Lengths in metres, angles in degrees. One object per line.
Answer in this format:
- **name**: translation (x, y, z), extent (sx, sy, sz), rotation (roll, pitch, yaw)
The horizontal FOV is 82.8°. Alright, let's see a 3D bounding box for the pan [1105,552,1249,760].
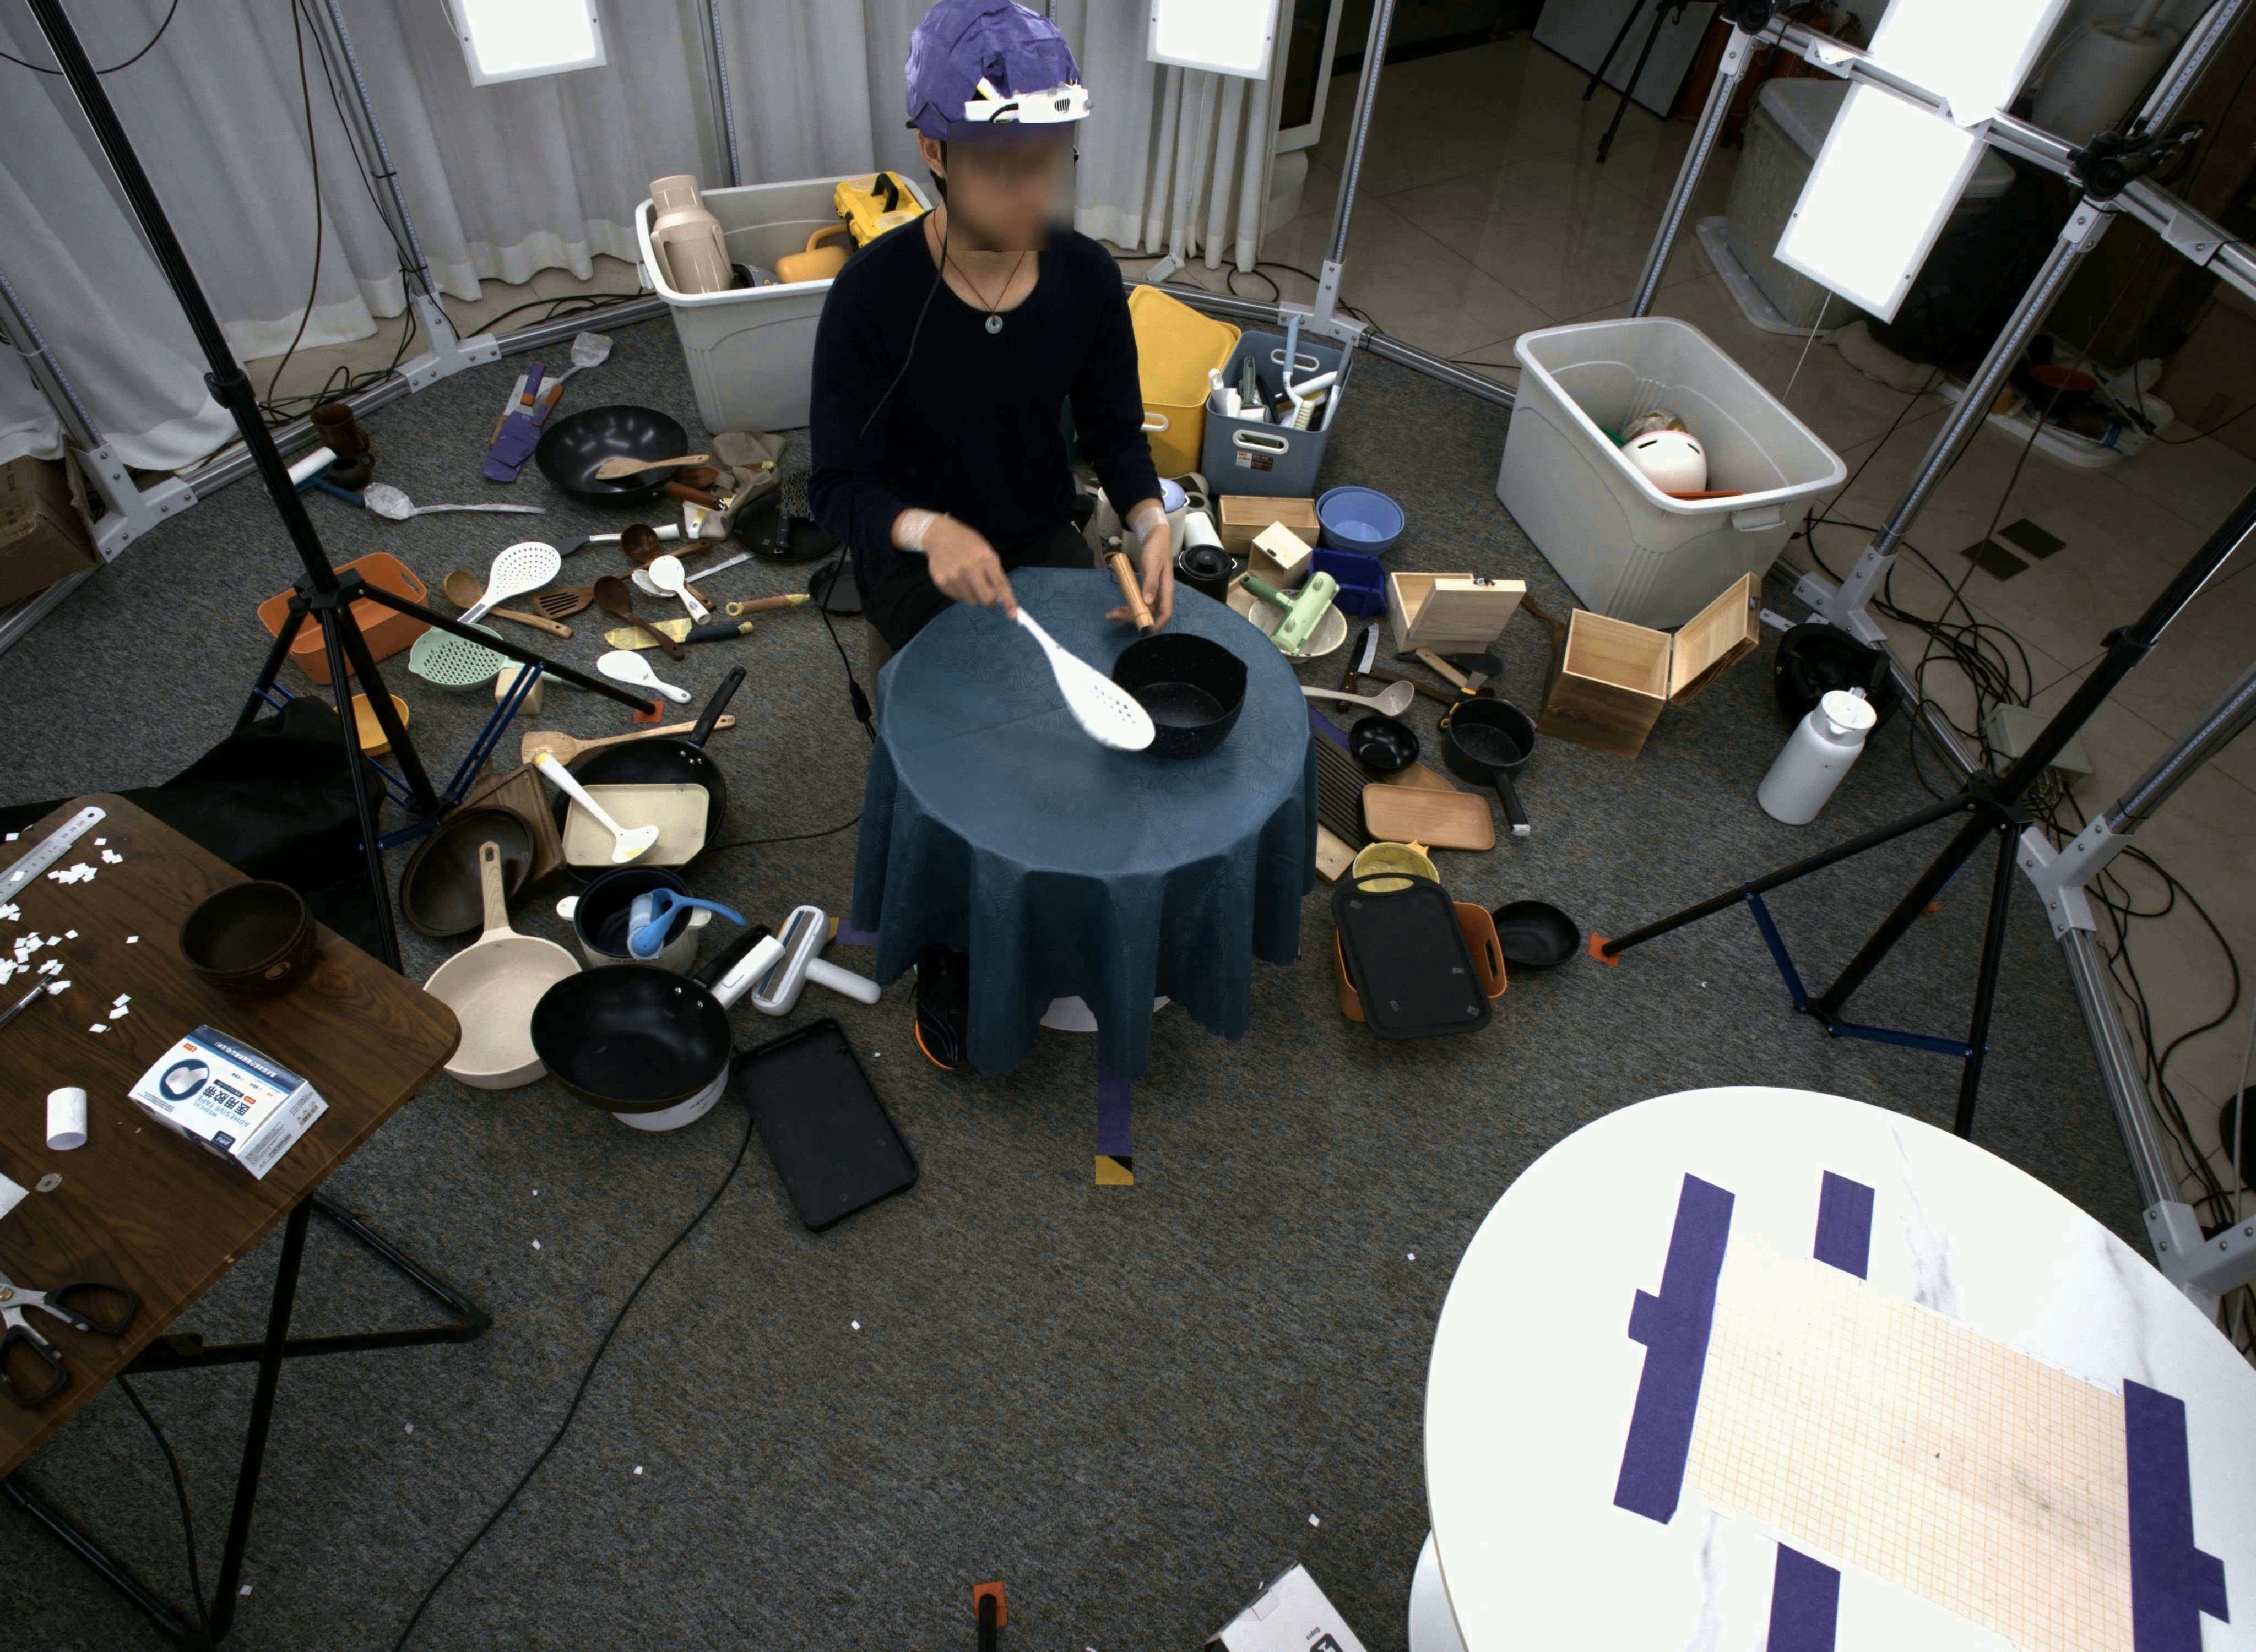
- **pan**: translation (0.039, -0.240, 1.810), extent (0.207, 0.105, 0.351), rotation (-15, 53, -15)

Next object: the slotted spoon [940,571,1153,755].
- **slotted spoon**: translation (-0.107, -0.213, 1.640), extent (0.349, 0.049, 0.138), rotation (49, 31, 6)
